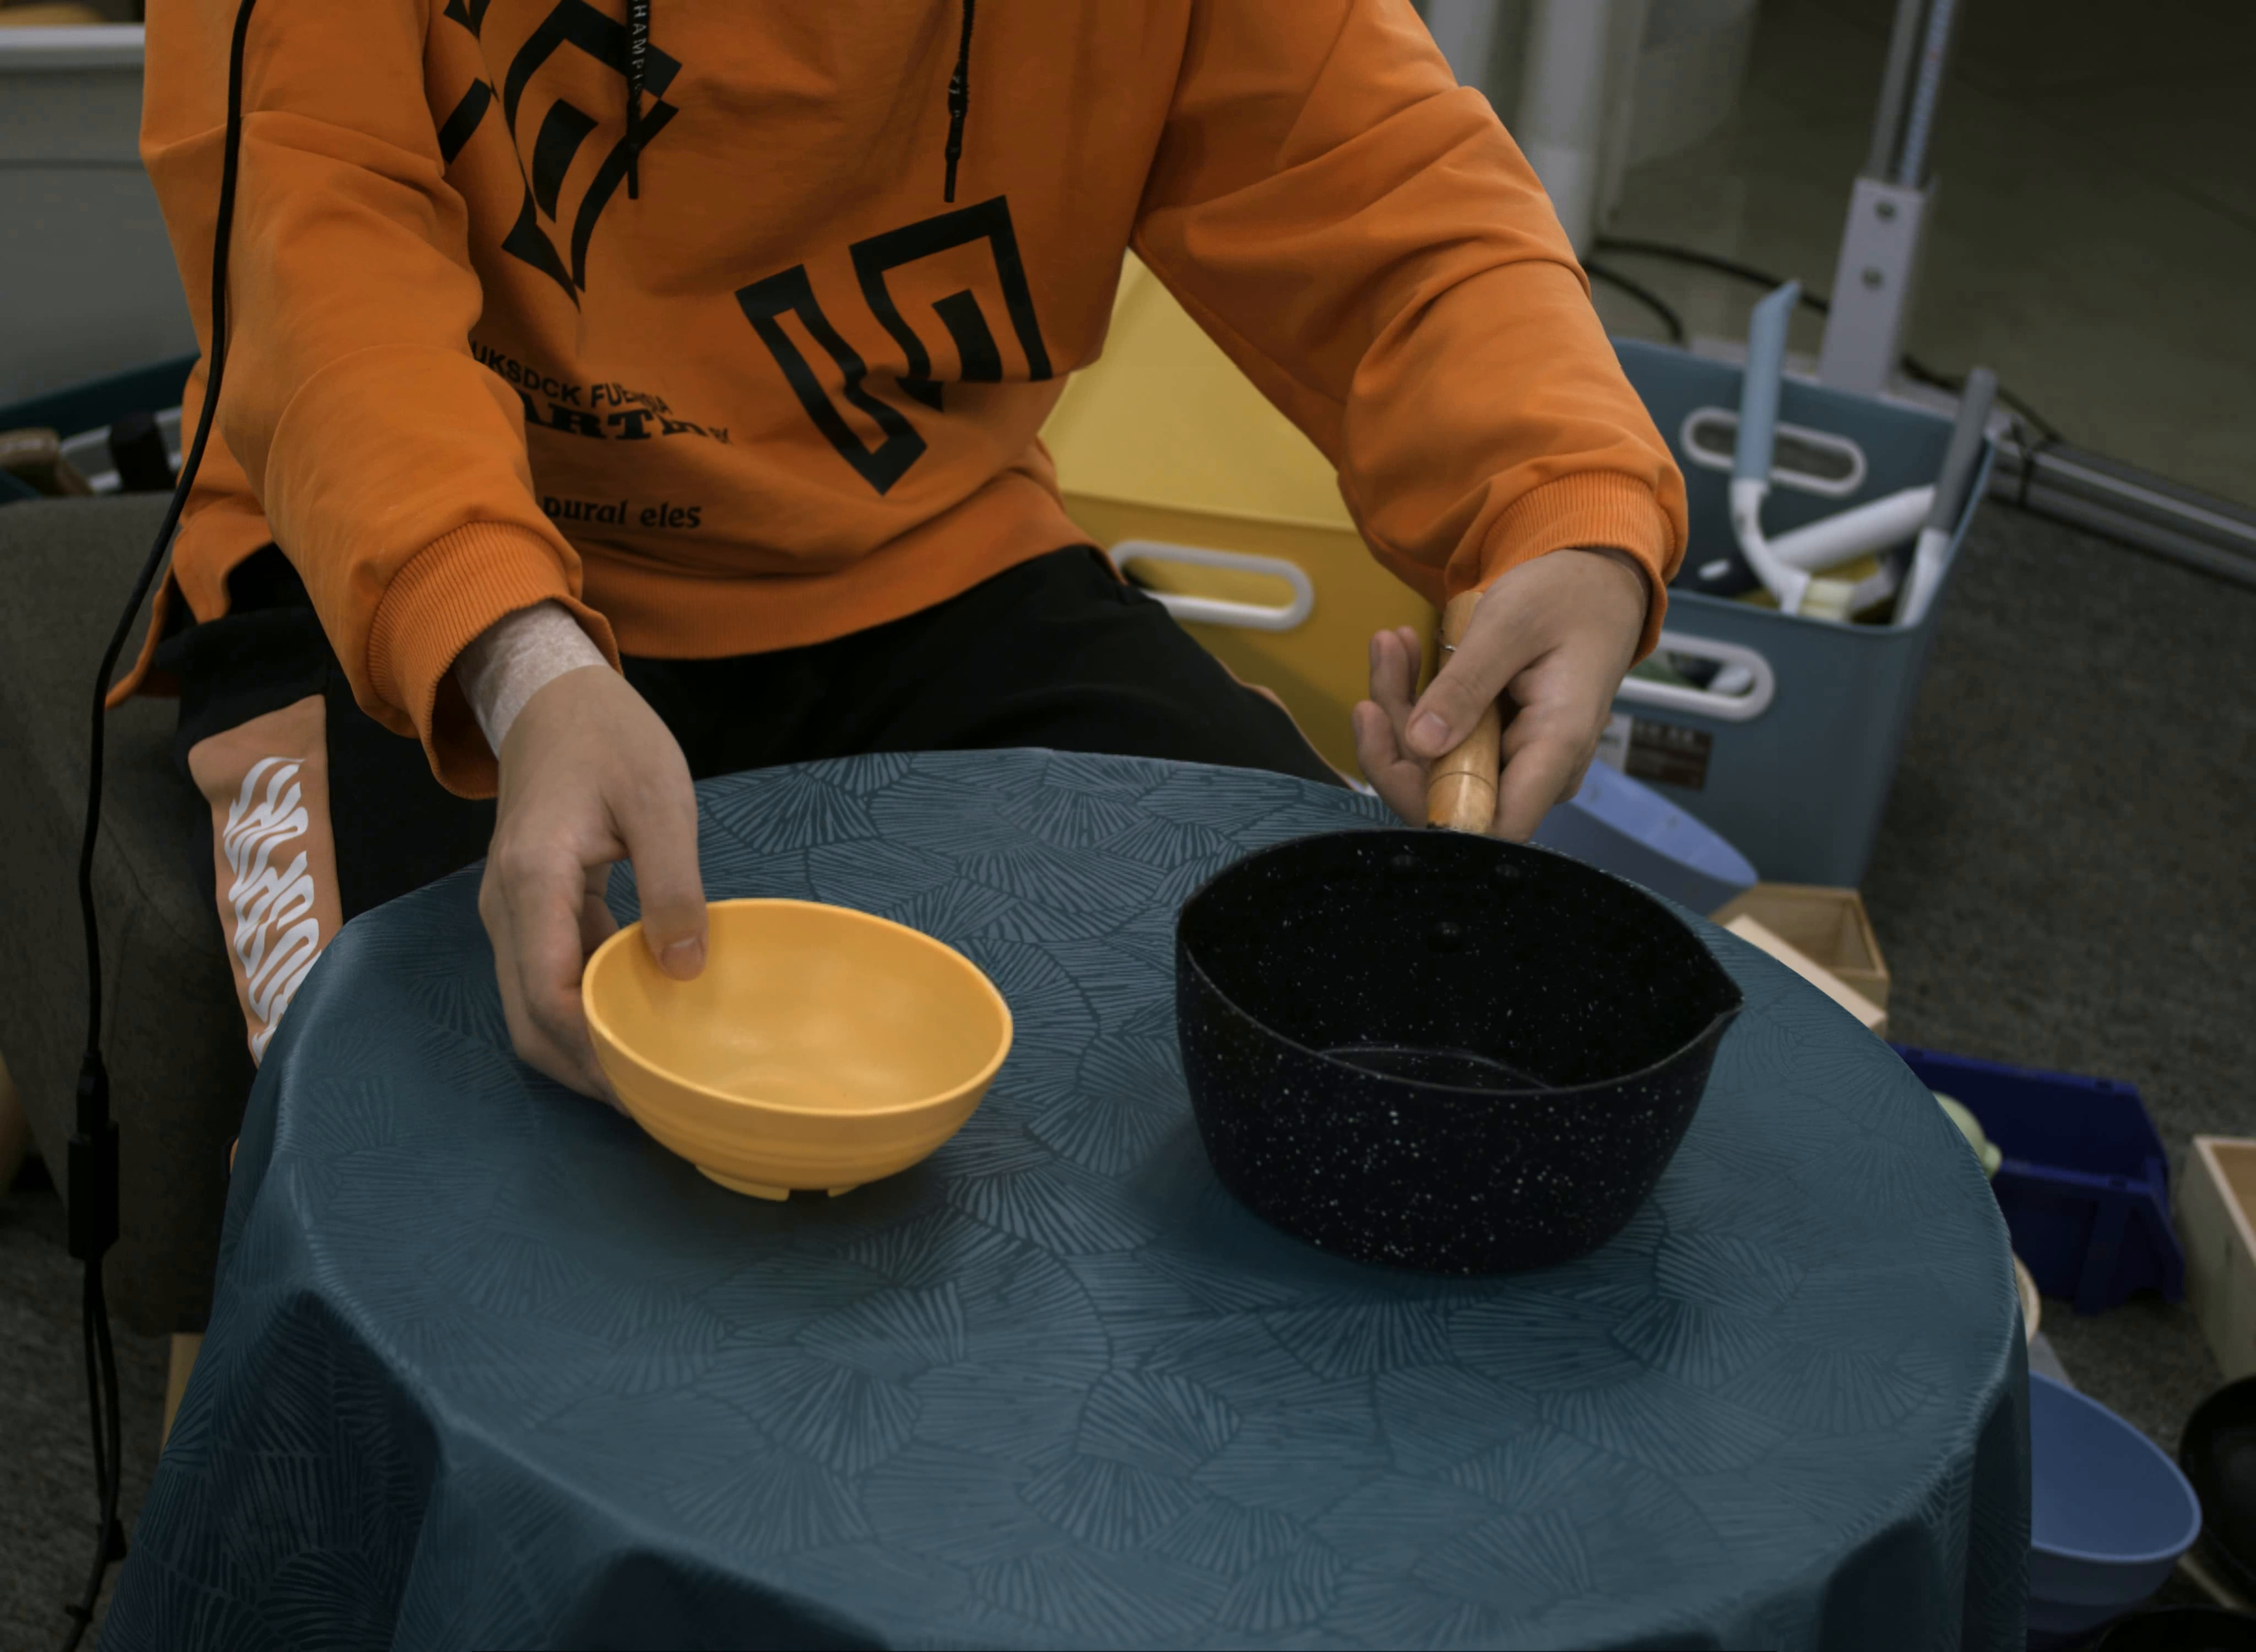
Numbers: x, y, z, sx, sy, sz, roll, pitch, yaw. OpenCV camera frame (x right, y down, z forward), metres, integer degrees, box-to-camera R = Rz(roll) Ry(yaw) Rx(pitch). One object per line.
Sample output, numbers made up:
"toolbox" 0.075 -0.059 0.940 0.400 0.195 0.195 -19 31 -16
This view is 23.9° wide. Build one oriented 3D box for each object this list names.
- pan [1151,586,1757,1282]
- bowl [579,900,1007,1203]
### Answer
"pan" 0.113 0.034 1.885 0.207 0.108 0.344 6 28 2
"bowl" -0.115 0.085 1.788 0.145 0.060 0.146 7 26 -4
